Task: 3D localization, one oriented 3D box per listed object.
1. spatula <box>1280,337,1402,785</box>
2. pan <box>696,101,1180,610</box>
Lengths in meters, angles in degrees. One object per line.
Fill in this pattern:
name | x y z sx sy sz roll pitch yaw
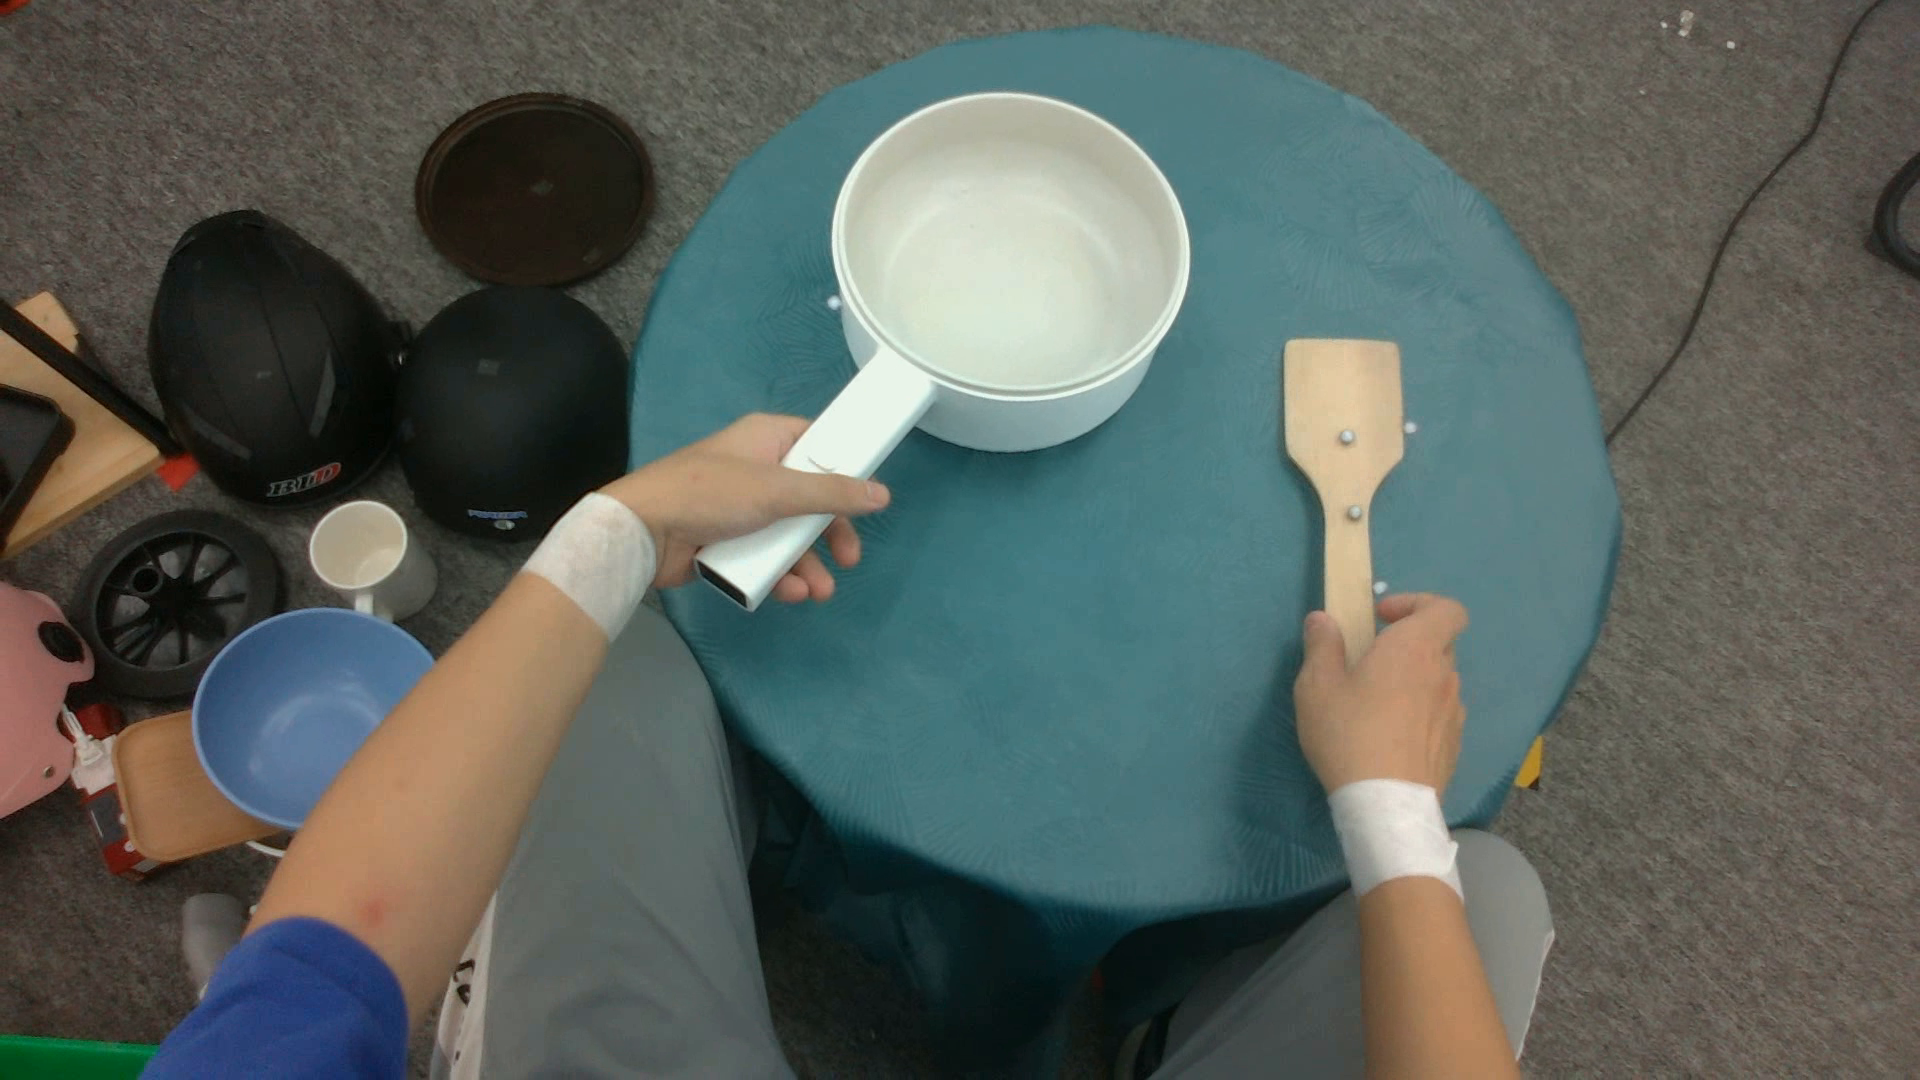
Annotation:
spatula | 0.225 0.002 0.802 0.072 0.010 0.294 -1 61 13
pan | -0.020 -0.095 0.799 0.201 0.101 0.356 34 69 8
